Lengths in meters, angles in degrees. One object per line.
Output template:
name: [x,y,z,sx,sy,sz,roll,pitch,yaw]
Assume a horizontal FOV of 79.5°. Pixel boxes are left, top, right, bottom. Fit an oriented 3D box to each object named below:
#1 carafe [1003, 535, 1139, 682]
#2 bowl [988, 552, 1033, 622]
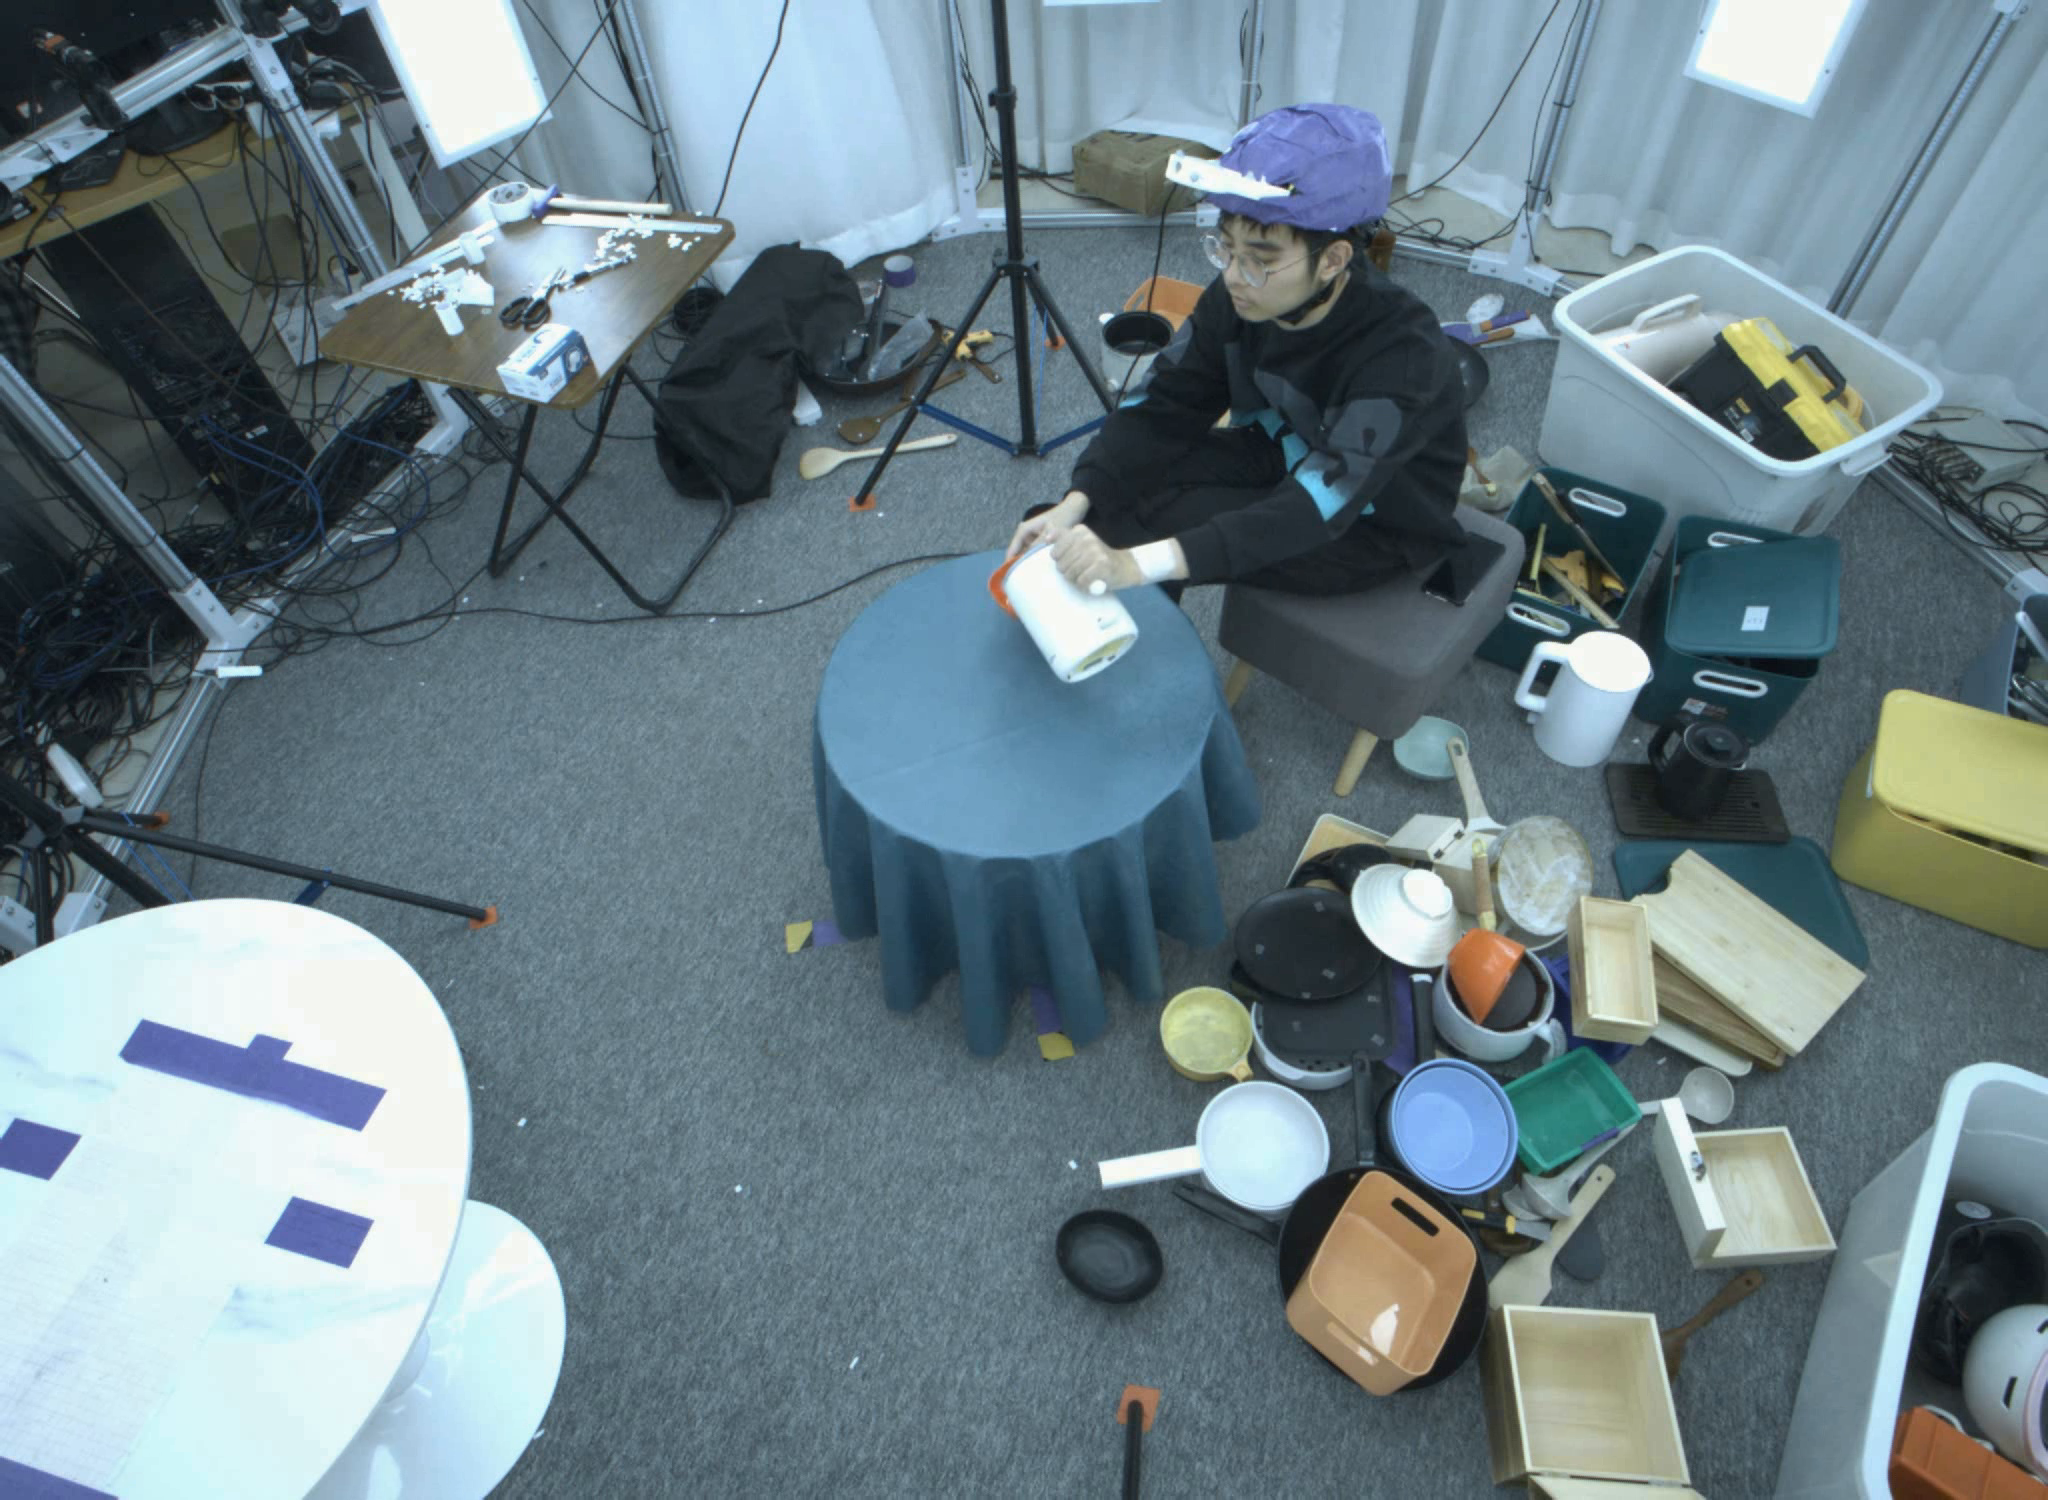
carafe: [0.070,-0.207,1.704,0.133,0.190,0.181,-29,80,-23]
bowl: [0.007,-0.238,1.850,0.118,0.052,0.118,-3,59,6]
